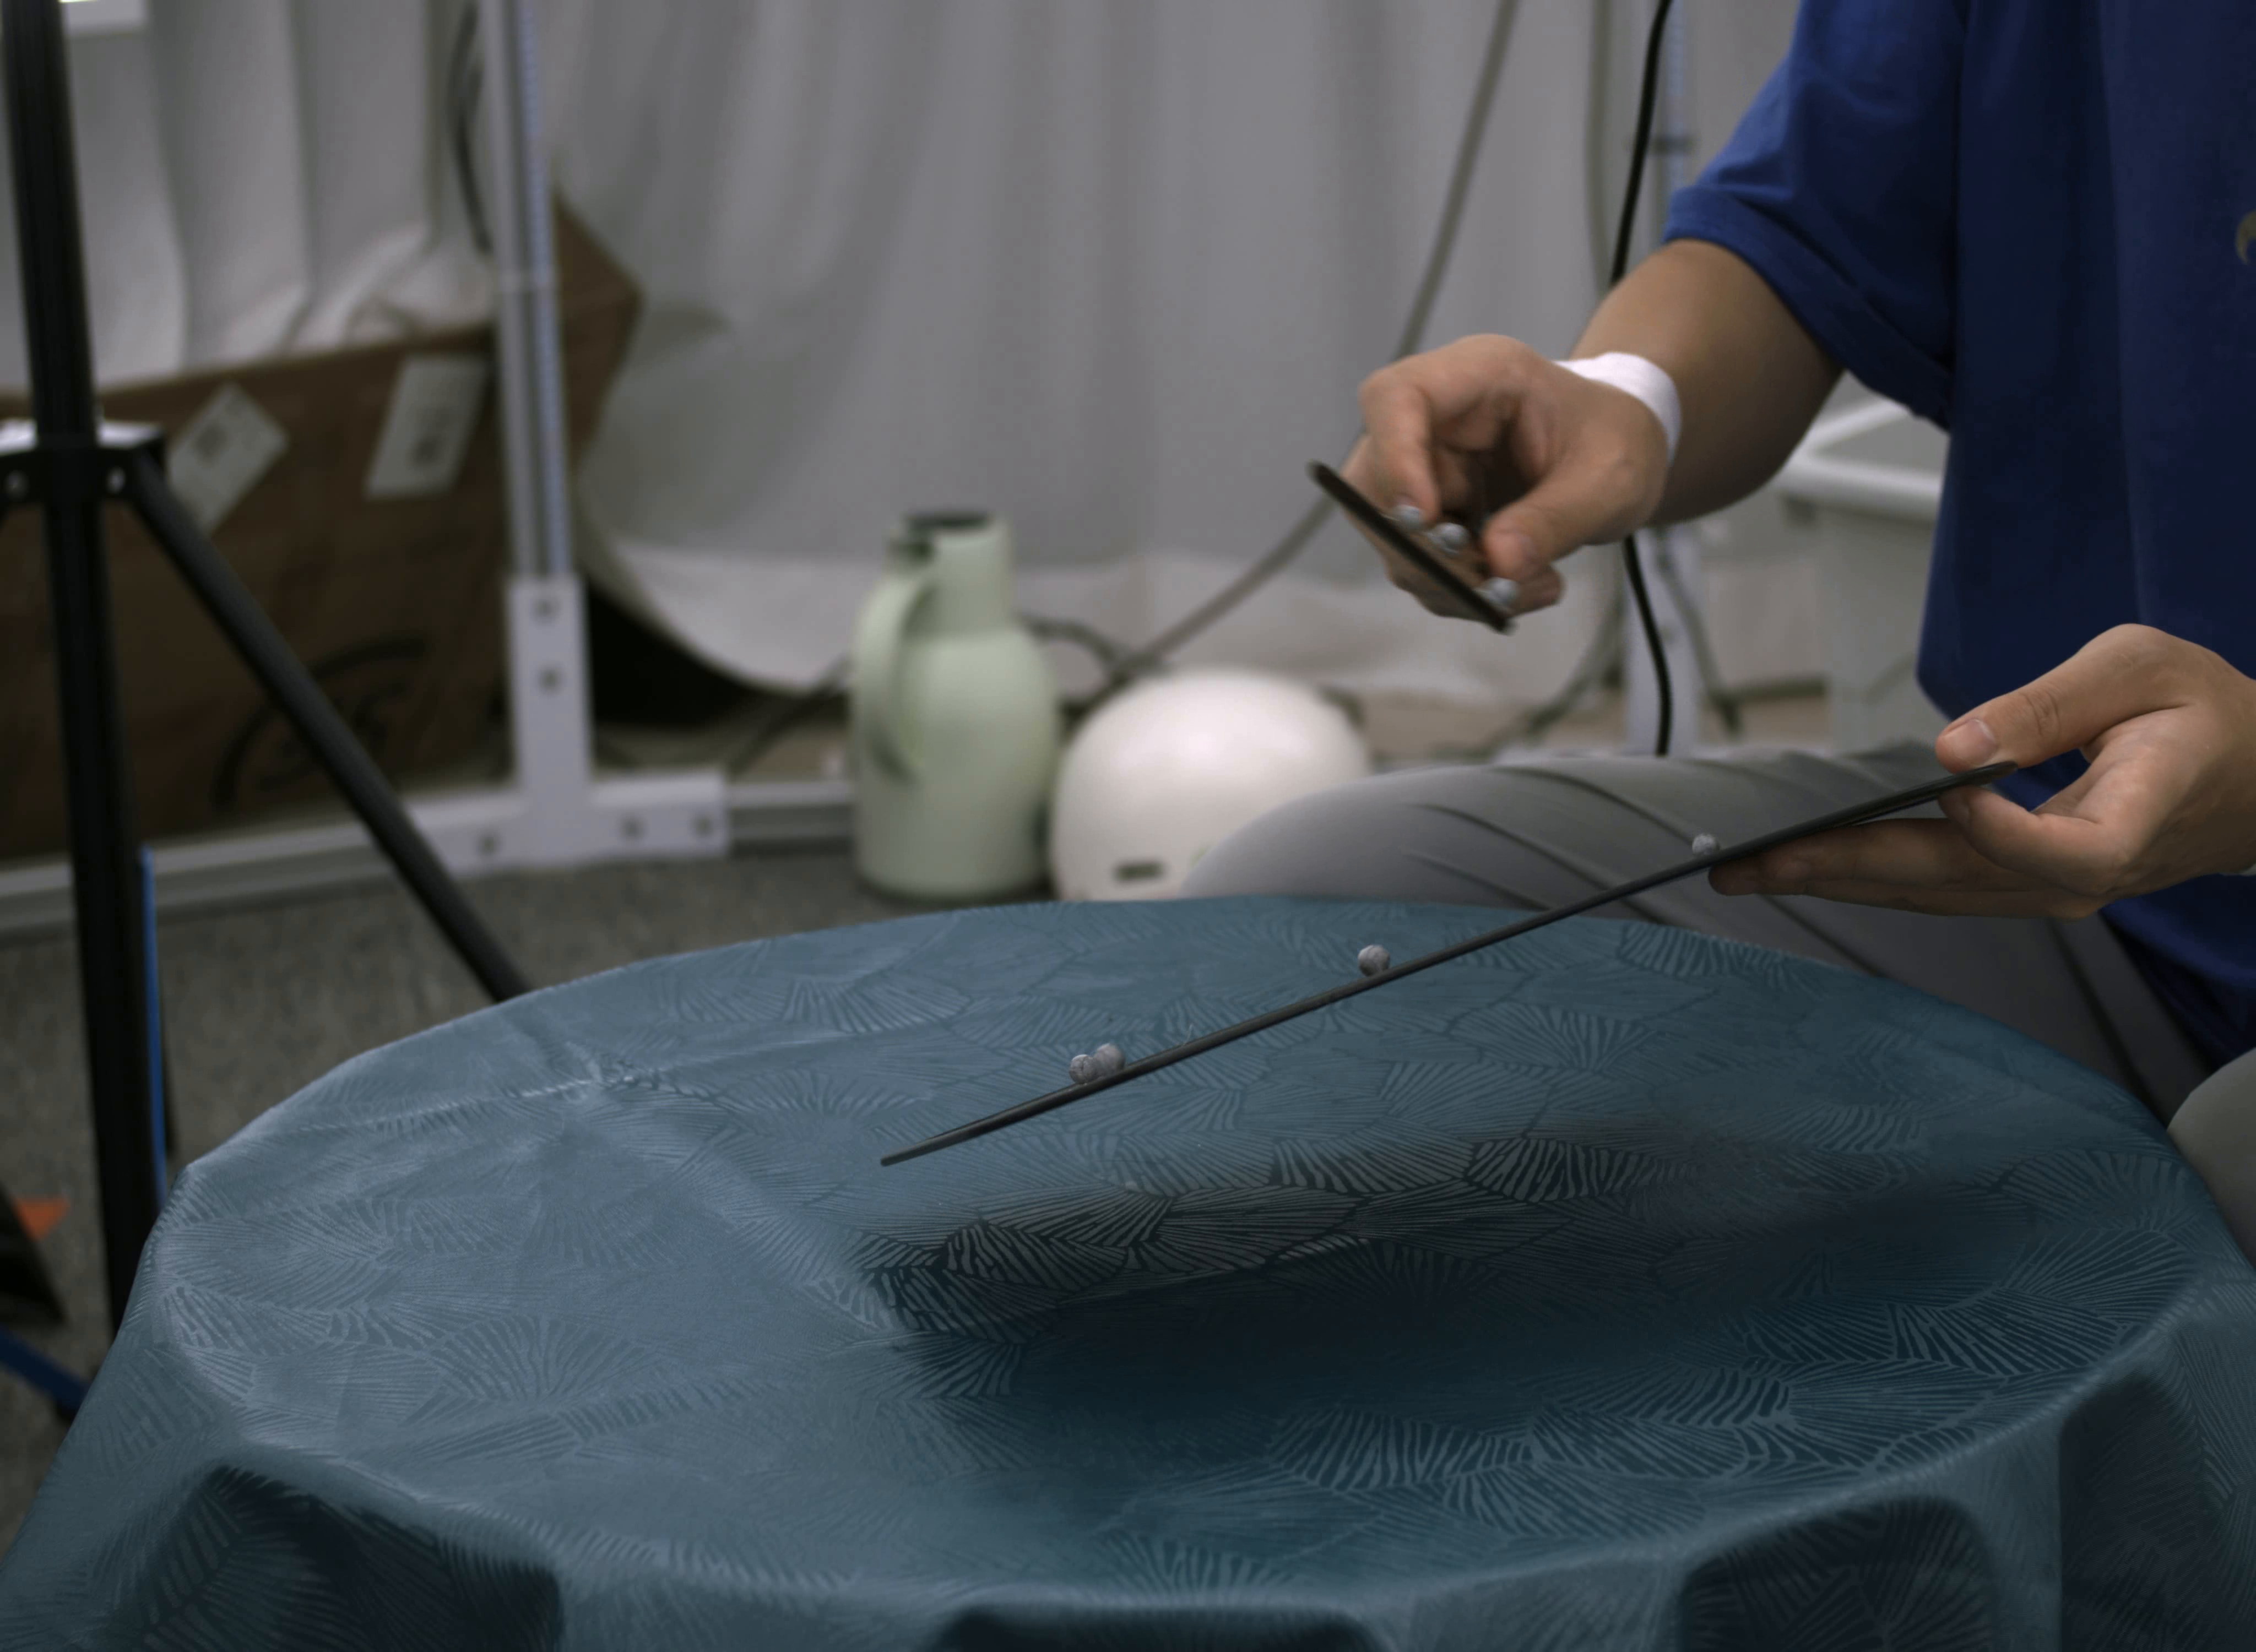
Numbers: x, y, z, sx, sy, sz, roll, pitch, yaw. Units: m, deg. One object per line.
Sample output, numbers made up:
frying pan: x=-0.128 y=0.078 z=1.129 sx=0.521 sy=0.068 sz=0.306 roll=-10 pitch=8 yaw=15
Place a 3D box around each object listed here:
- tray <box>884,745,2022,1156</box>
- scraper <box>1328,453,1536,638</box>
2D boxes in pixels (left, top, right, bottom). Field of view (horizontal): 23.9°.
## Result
tray: x=0.093 y=0.034 z=1.475 sx=0.321 sy=0.010 sz=0.212 roll=-19 pitch=-2 yaw=-13
scraper: x=0.099 y=-0.083 z=1.590 sx=0.076 sy=0.011 sz=0.209 roll=40 pitch=8 yaw=5
